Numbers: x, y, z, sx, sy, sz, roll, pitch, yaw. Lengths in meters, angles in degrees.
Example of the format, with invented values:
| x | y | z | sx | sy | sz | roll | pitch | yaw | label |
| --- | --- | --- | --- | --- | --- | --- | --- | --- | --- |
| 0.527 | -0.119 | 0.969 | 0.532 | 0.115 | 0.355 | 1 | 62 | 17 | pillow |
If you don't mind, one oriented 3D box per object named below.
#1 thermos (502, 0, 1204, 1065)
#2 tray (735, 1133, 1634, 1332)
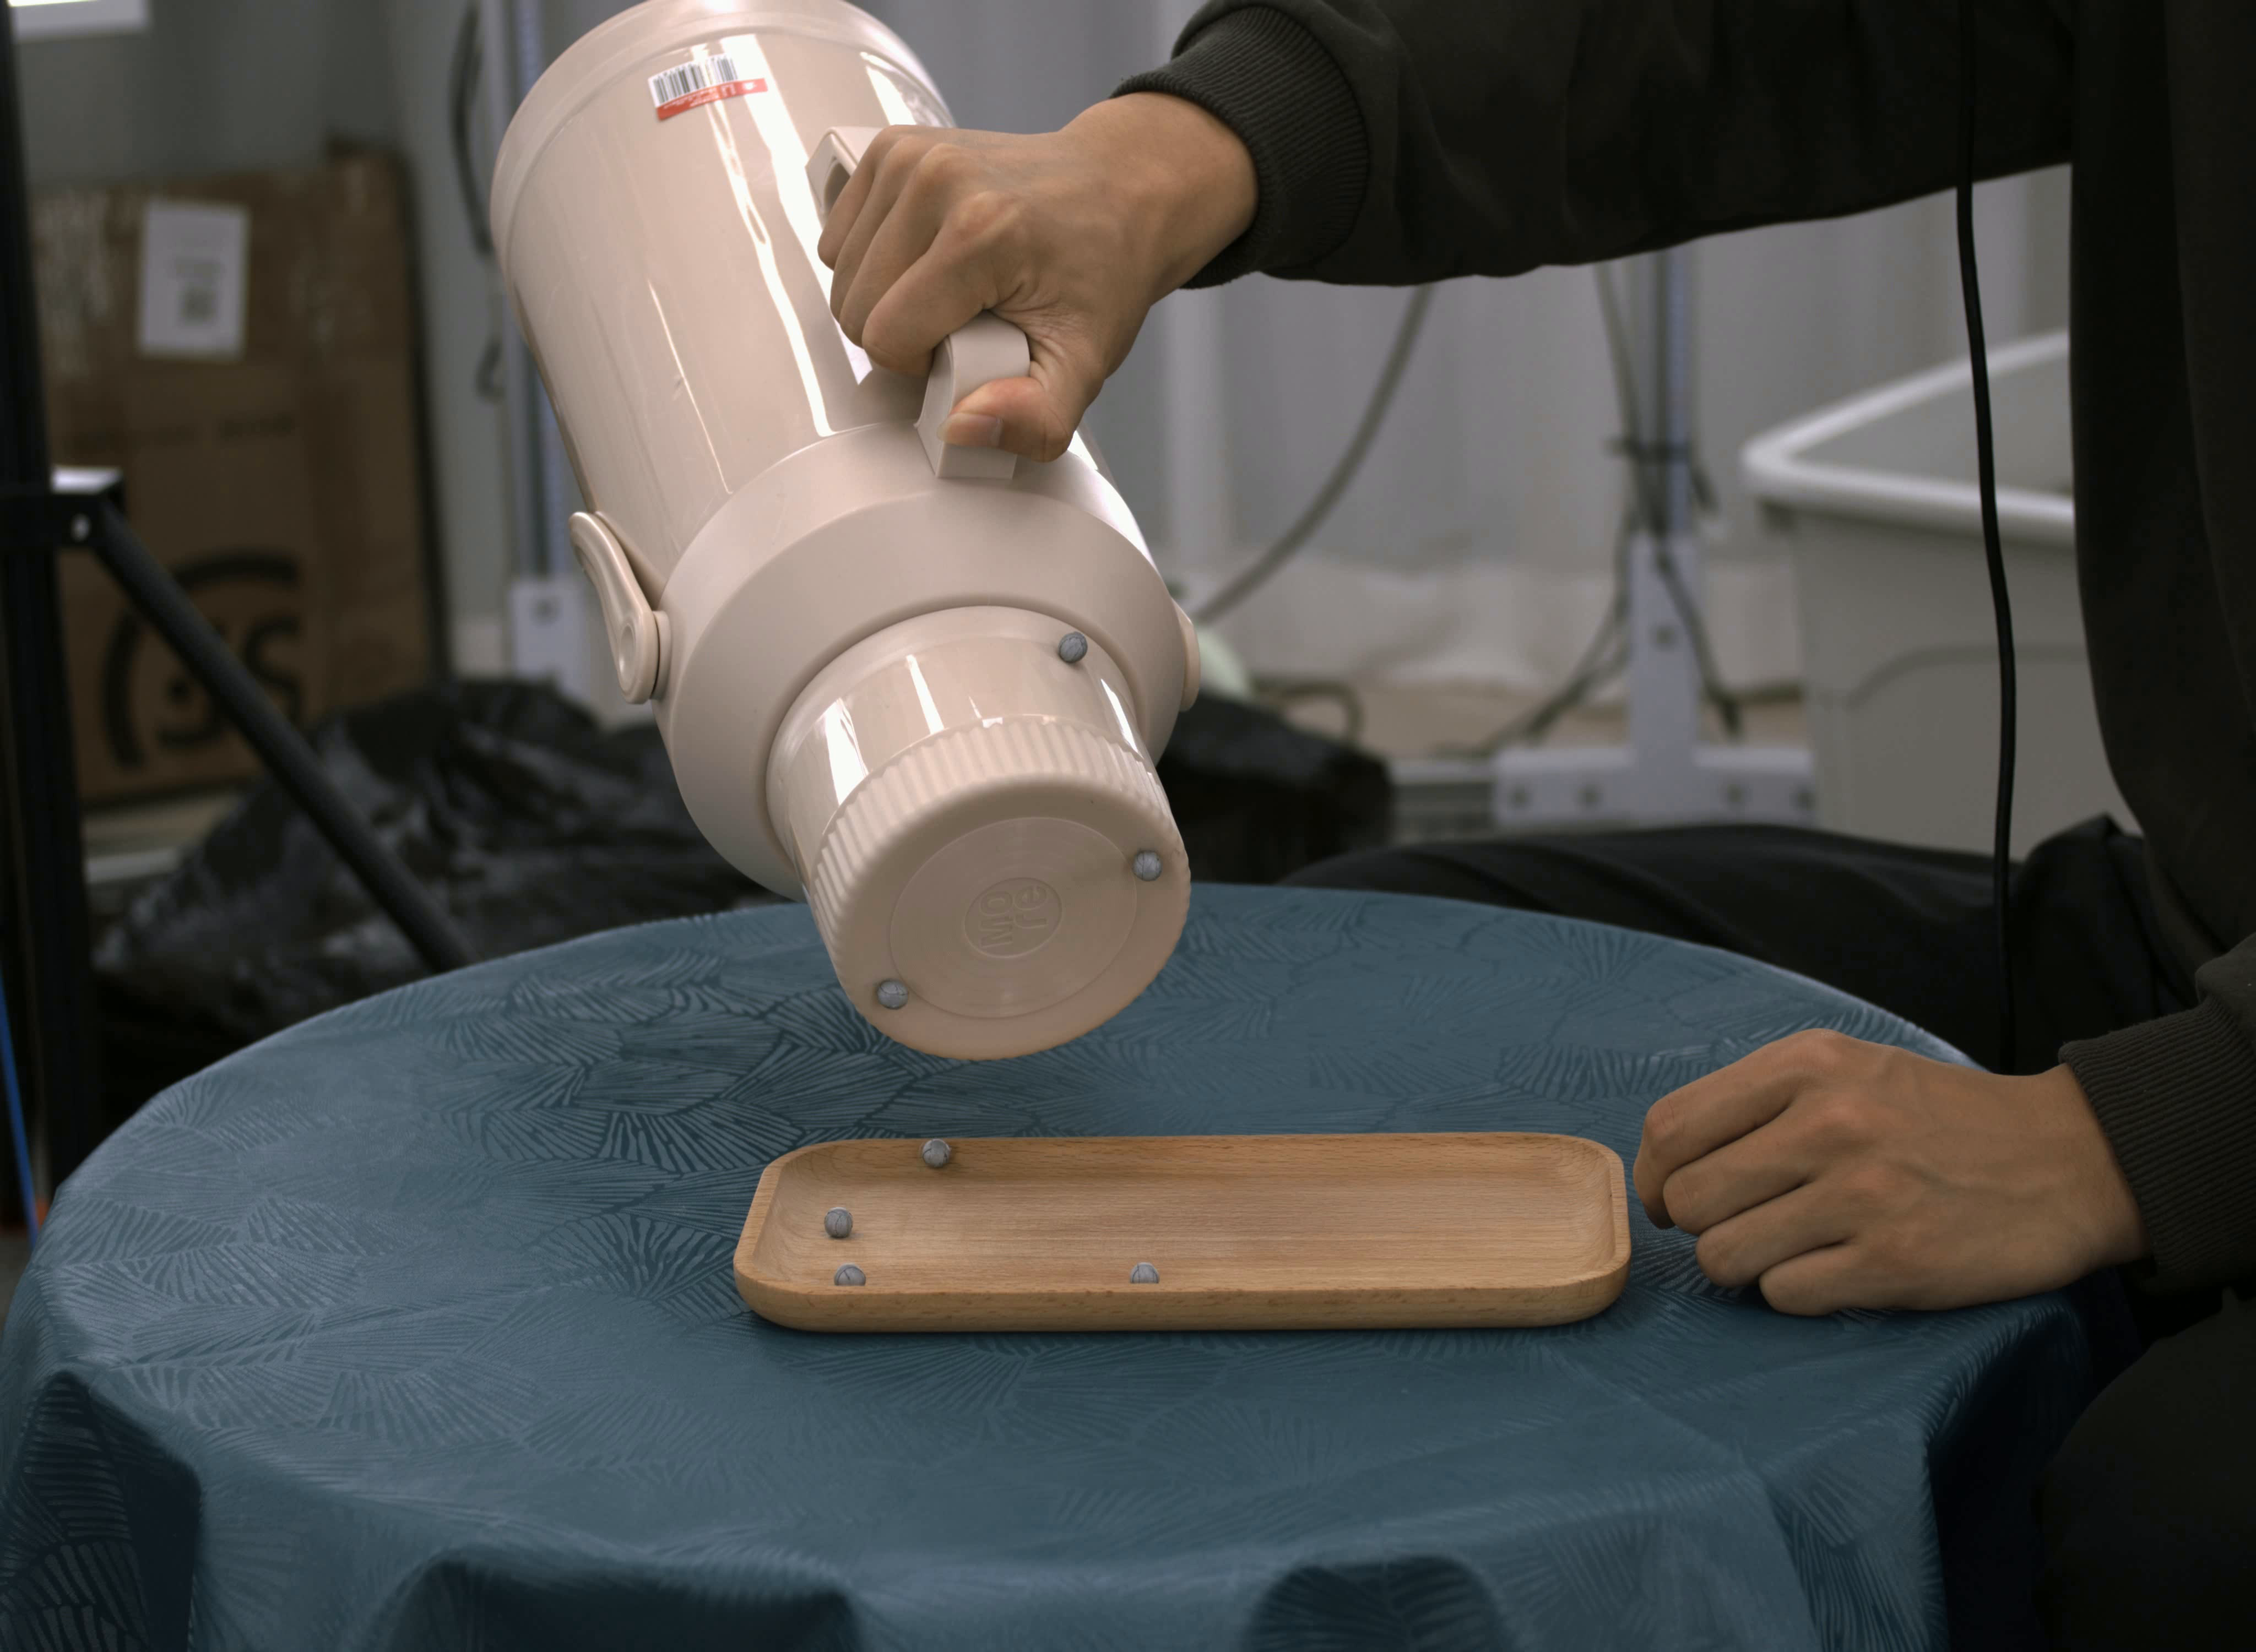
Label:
| x | y | z | sx | sy | sz | roll | pitch | yaw | label |
| --- | --- | --- | --- | --- | --- | --- | --- | --- | --- |
| -0.078 | -0.104 | 1.639 | 0.172 | 0.207 | 0.413 | 1 | 36 | -17 | thermos |
| 0.017 | 0.115 | 1.503 | 0.251 | 0.023 | 0.130 | 0 | 18 | 6 | tray |
